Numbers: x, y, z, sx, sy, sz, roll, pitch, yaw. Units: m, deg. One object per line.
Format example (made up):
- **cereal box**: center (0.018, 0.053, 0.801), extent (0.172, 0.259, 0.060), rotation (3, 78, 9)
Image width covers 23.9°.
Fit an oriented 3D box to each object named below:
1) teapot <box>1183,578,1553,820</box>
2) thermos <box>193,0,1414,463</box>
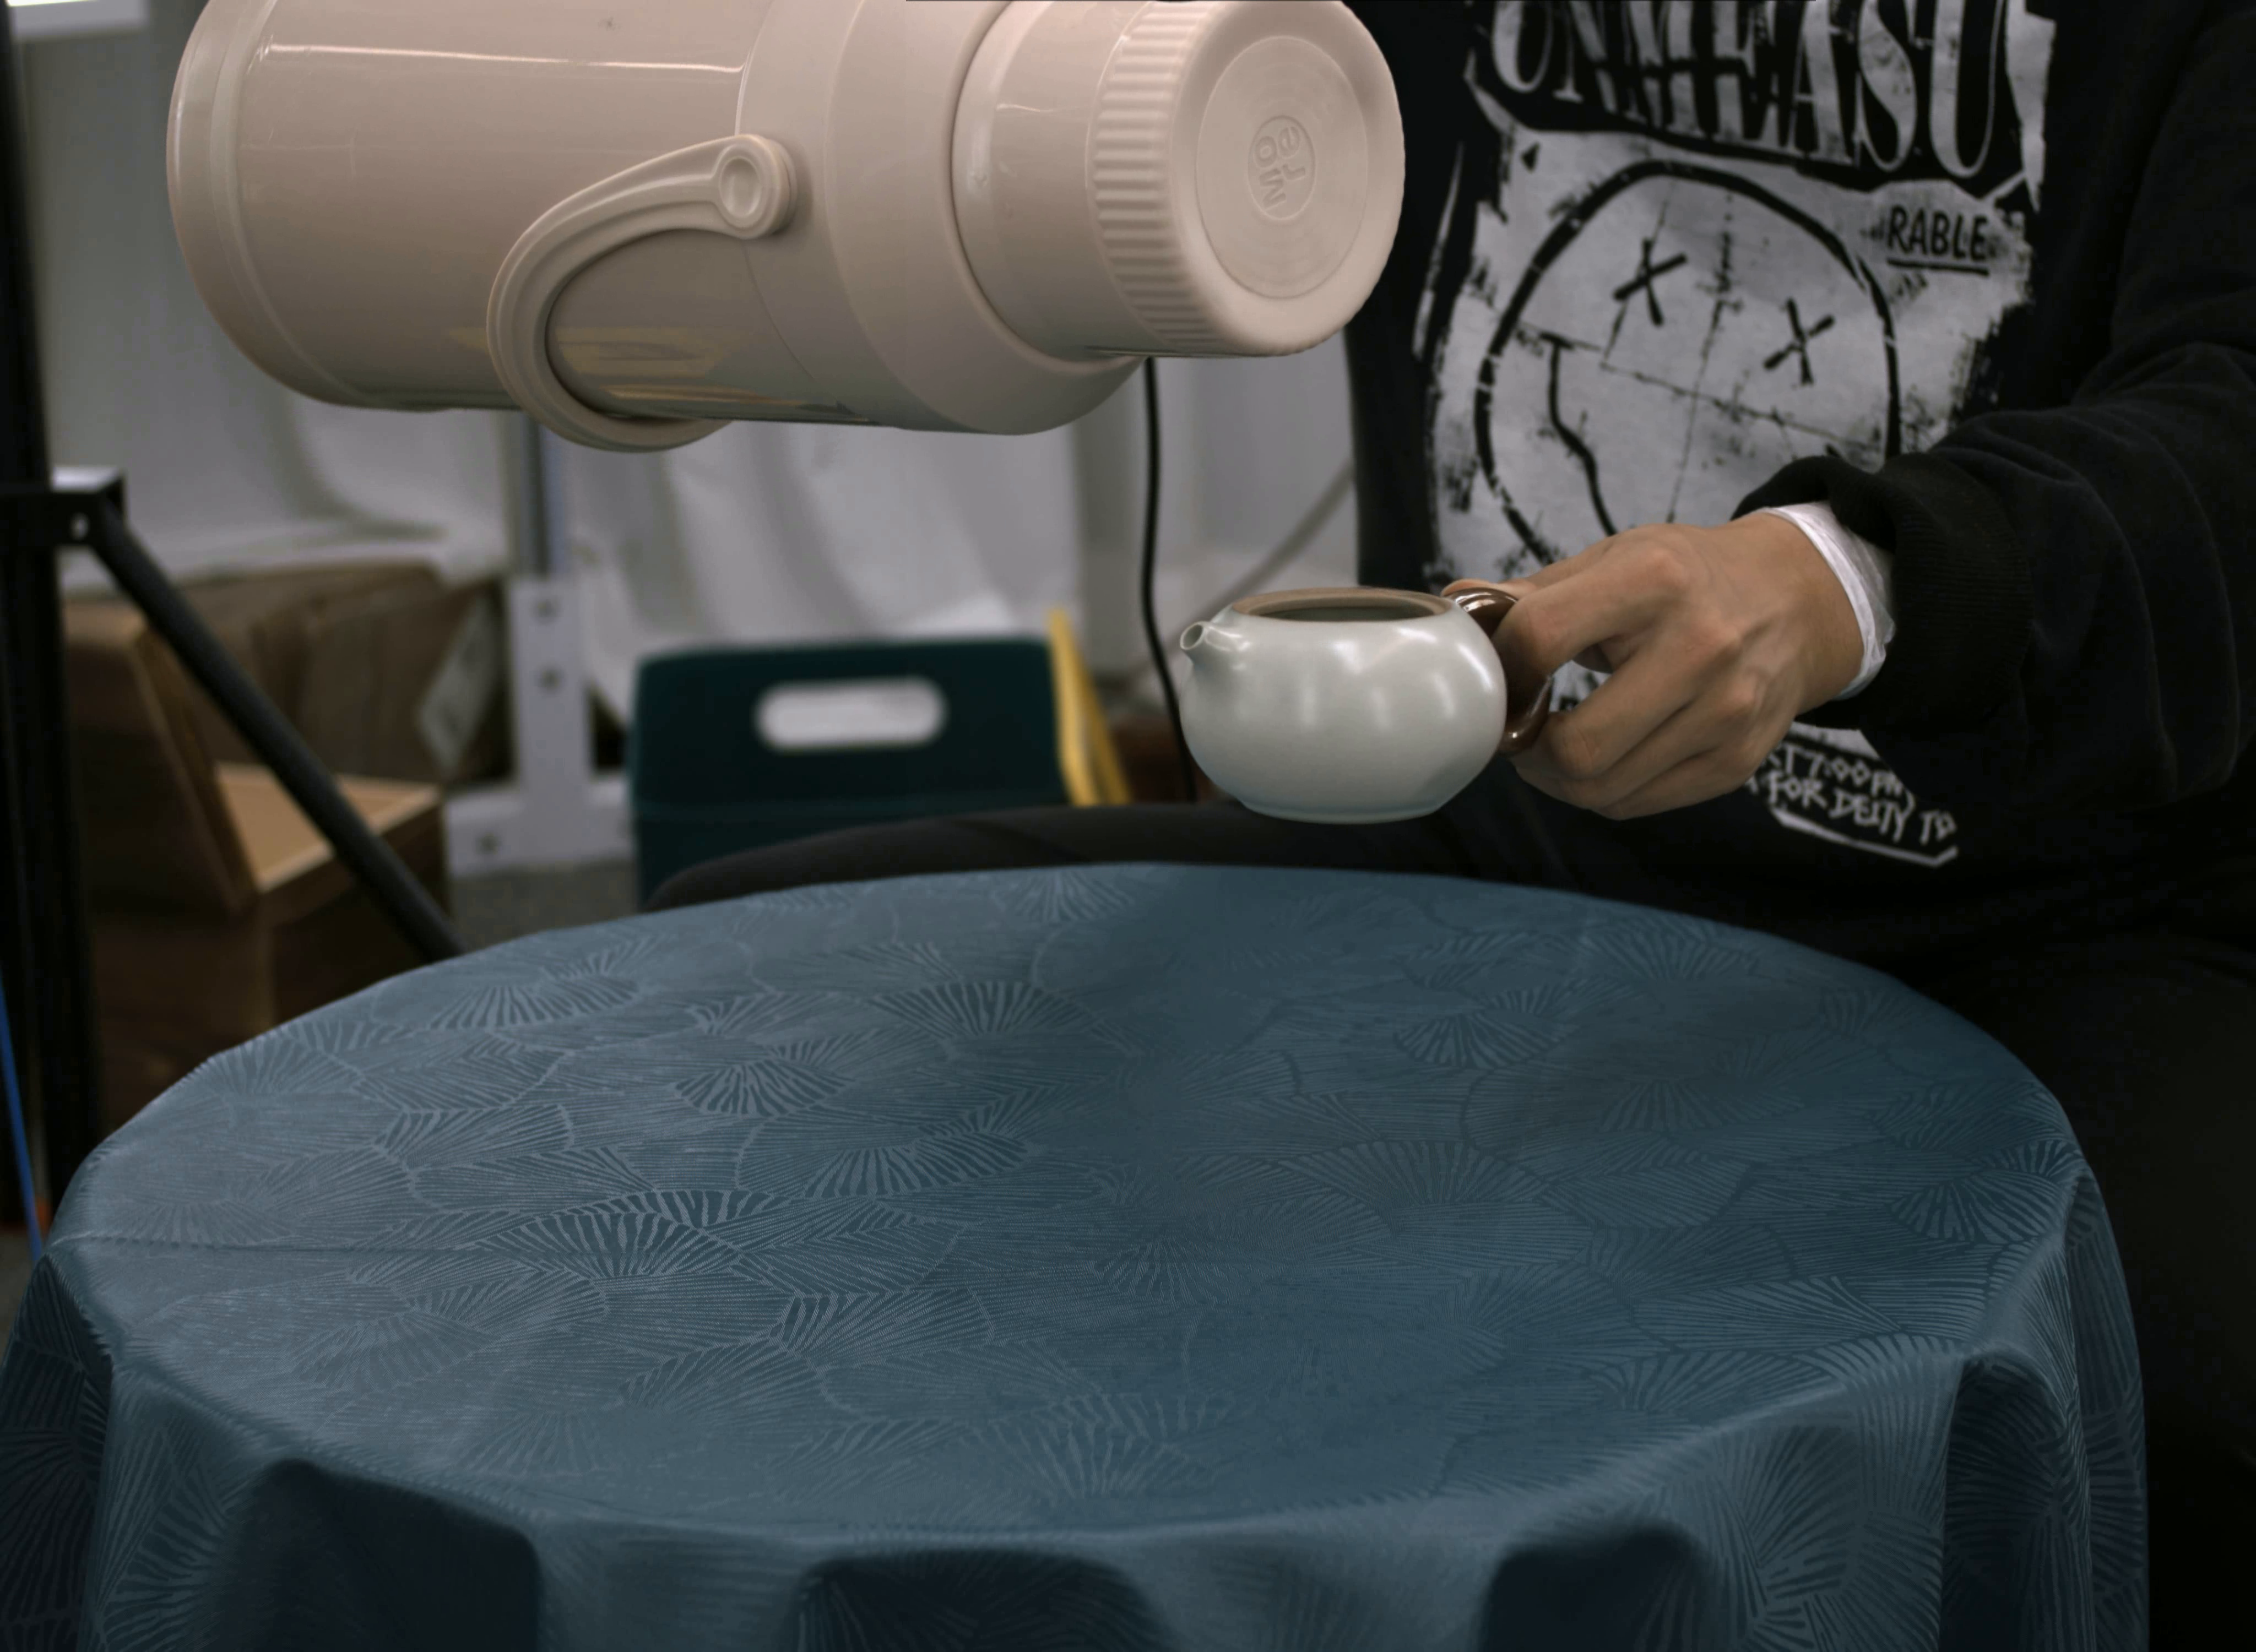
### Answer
- **teapot**: center (0.068, -0.036, 1.480), extent (0.125, 0.060, 0.094), rotation (-9, 11, -35)
- **thermos**: center (-0.099, -0.211, 1.598), extent (0.171, 0.207, 0.415), rotation (-13, 13, -43)
